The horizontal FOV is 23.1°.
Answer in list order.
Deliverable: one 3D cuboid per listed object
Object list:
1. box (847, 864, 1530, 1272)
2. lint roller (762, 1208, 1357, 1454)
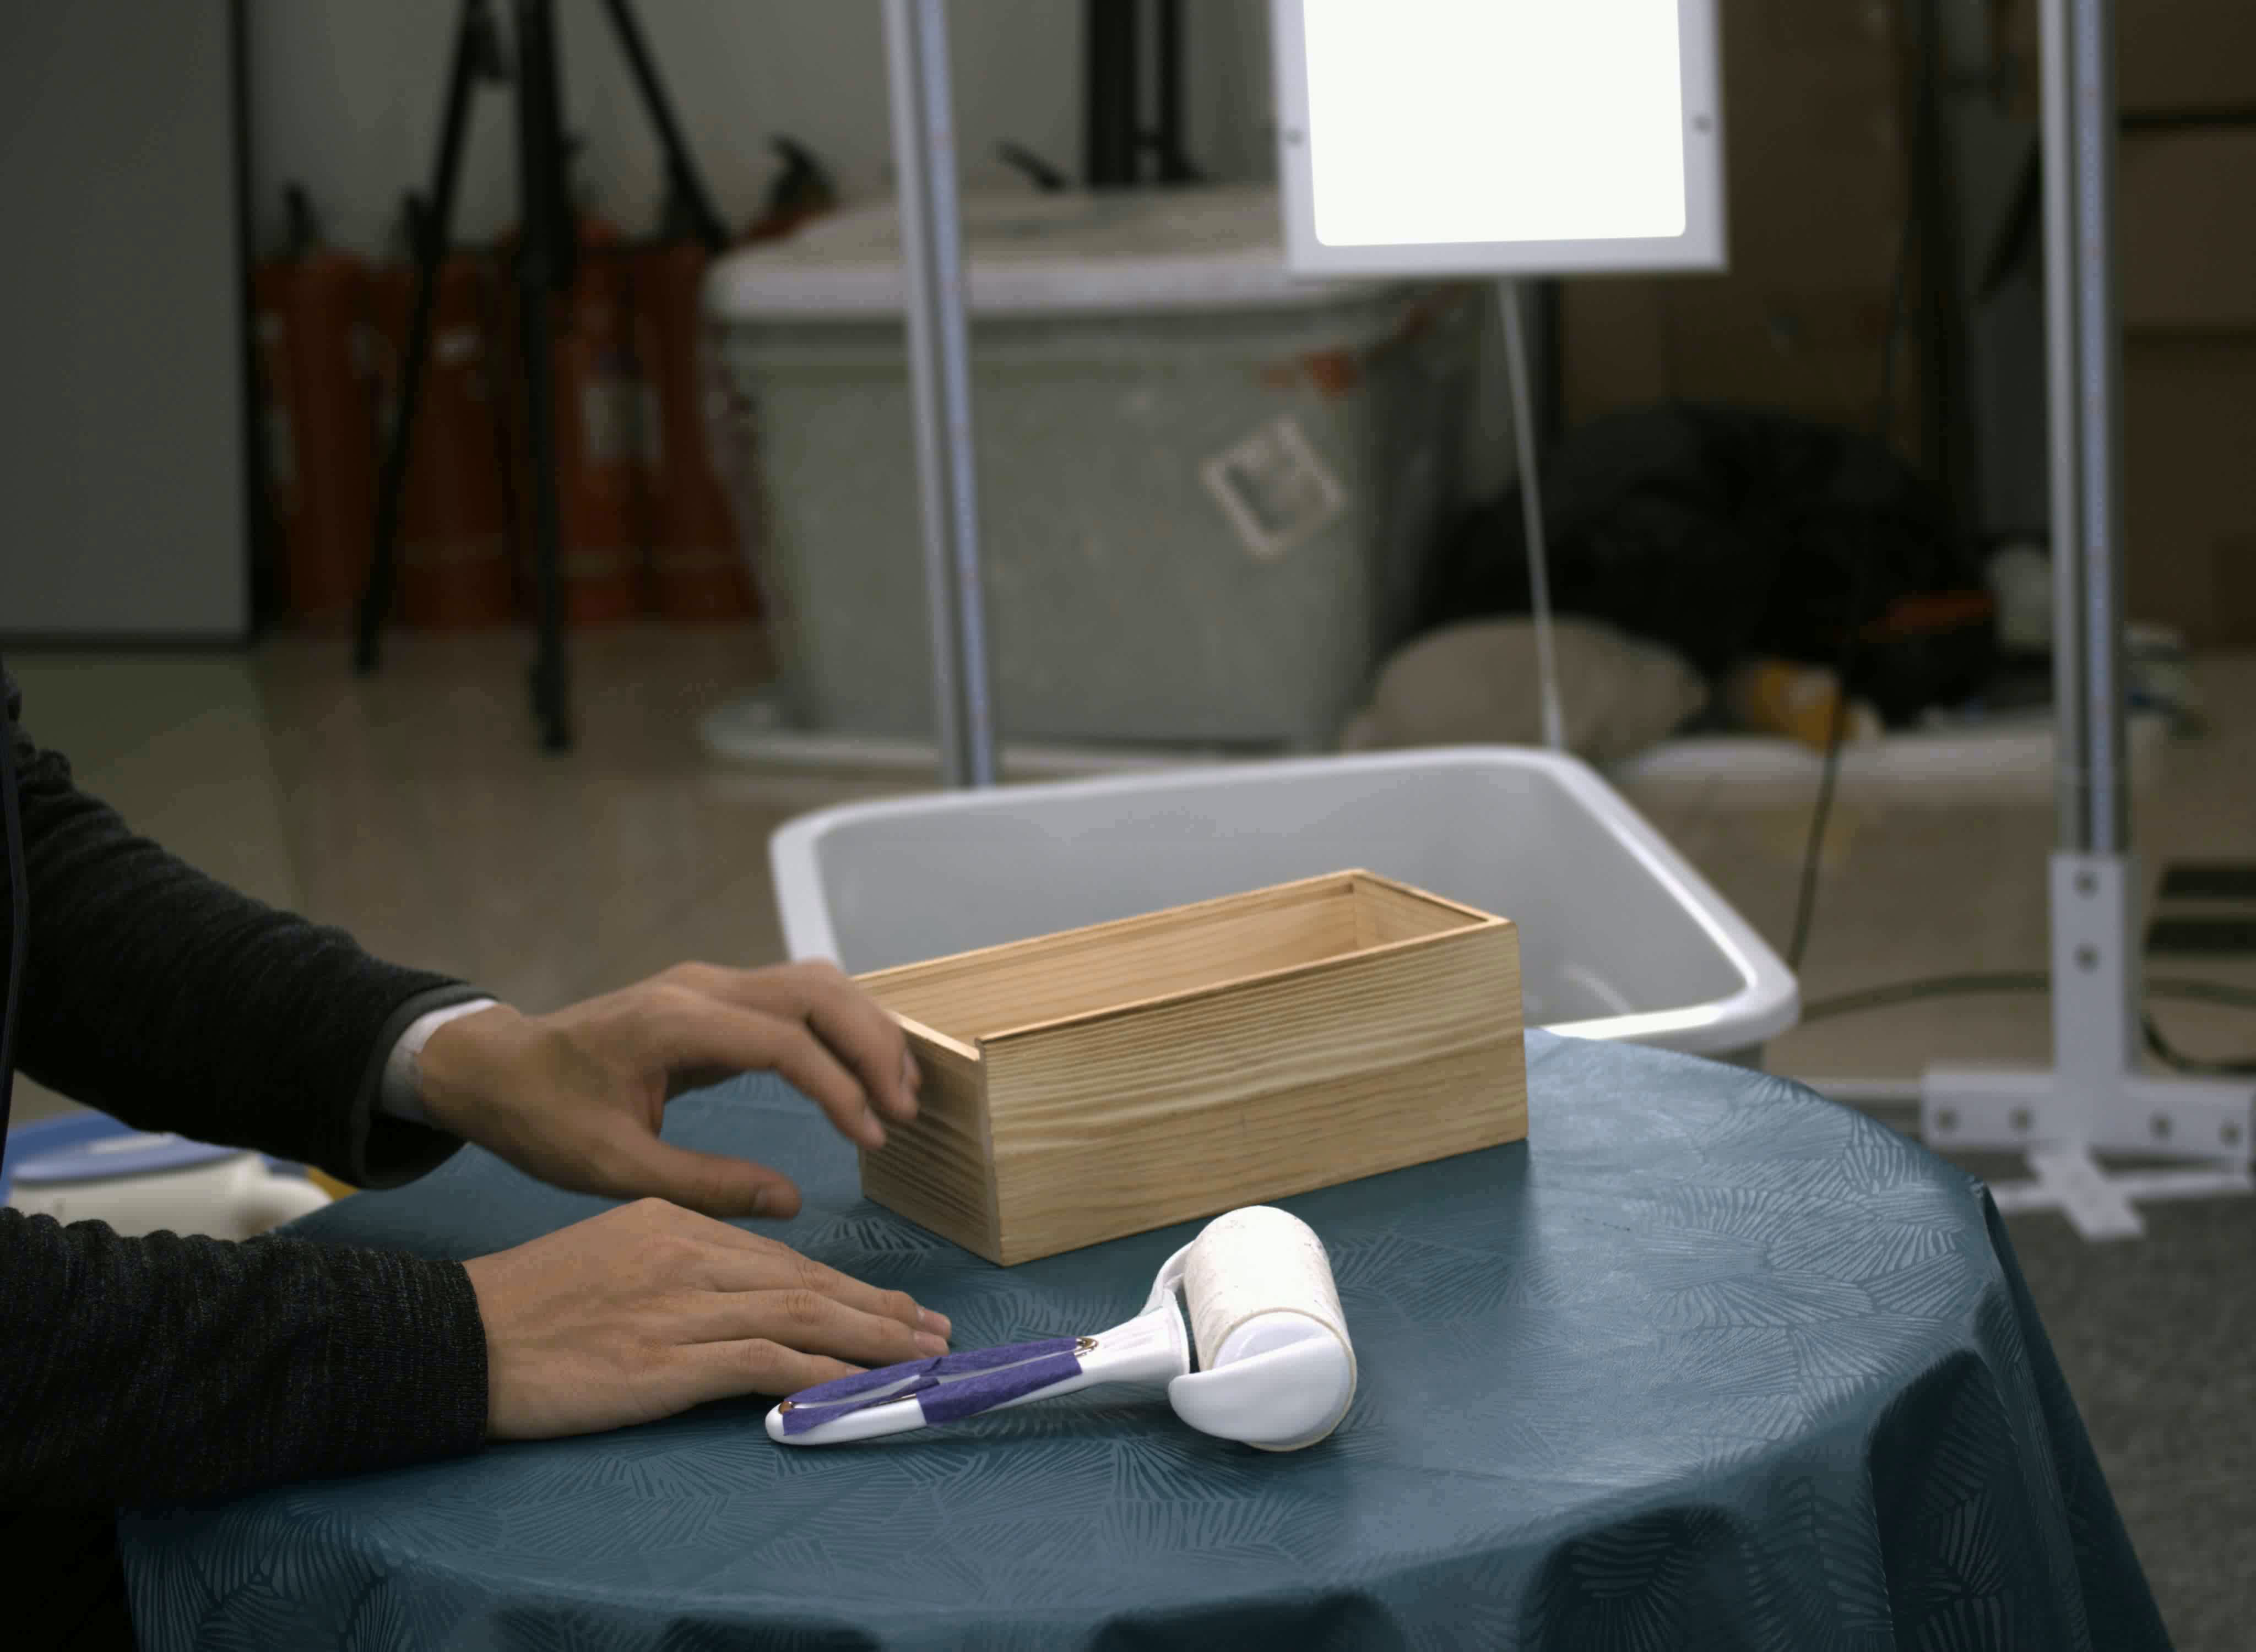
[{"bbox_3d":[0.022,0.081,1.909,0.207,0.080,0.109,-13,16,-26],"label":"box"},{"bbox_3d":[-0.022,0.157,1.682,0.180,0.050,0.132,-3,15,1],"label":"lint roller"}]
